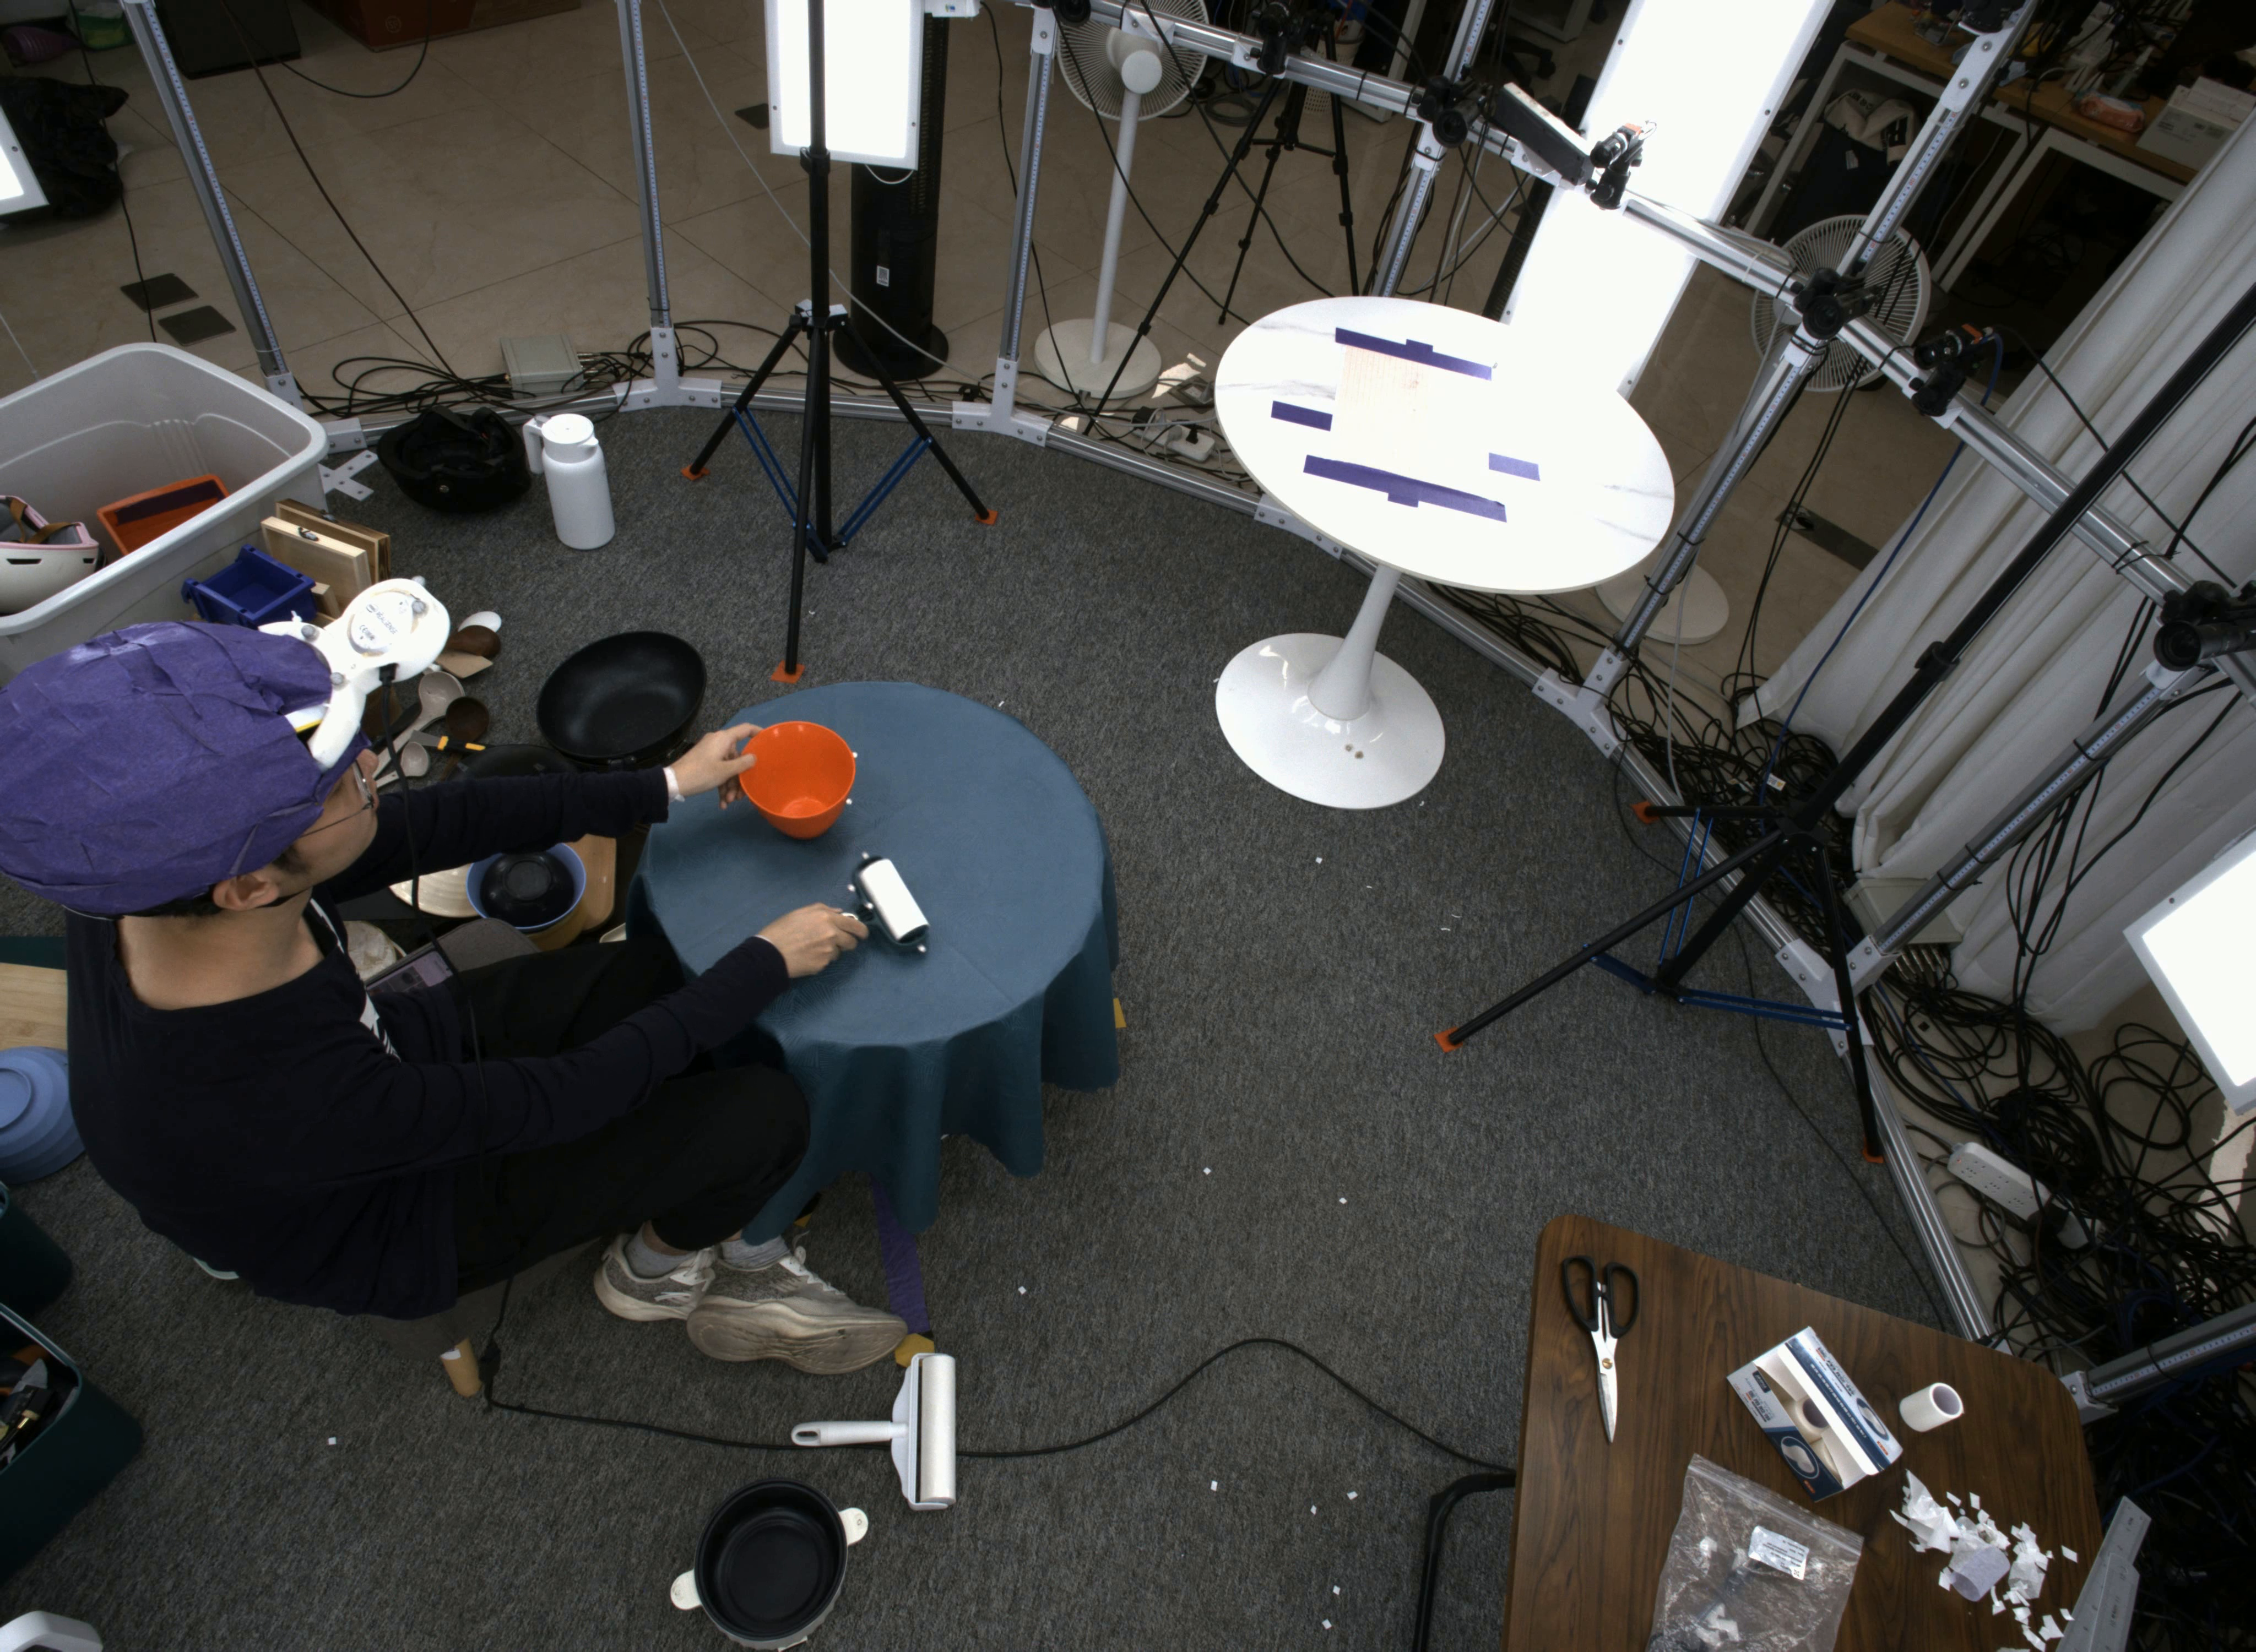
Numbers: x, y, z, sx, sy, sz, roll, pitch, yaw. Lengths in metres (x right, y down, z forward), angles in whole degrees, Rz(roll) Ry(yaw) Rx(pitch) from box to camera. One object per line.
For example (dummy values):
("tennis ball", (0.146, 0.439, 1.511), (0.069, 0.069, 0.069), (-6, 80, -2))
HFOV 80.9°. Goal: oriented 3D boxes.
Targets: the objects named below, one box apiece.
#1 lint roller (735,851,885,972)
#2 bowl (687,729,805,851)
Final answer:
("lint roller", (-0.401, 0.121, 1.594), (0.181, 0.048, 0.133), (-29, 79, -37))
("bowl", (-0.491, -0.037, 1.683), (0.147, 0.107, 0.145), (4, 50, -4))
